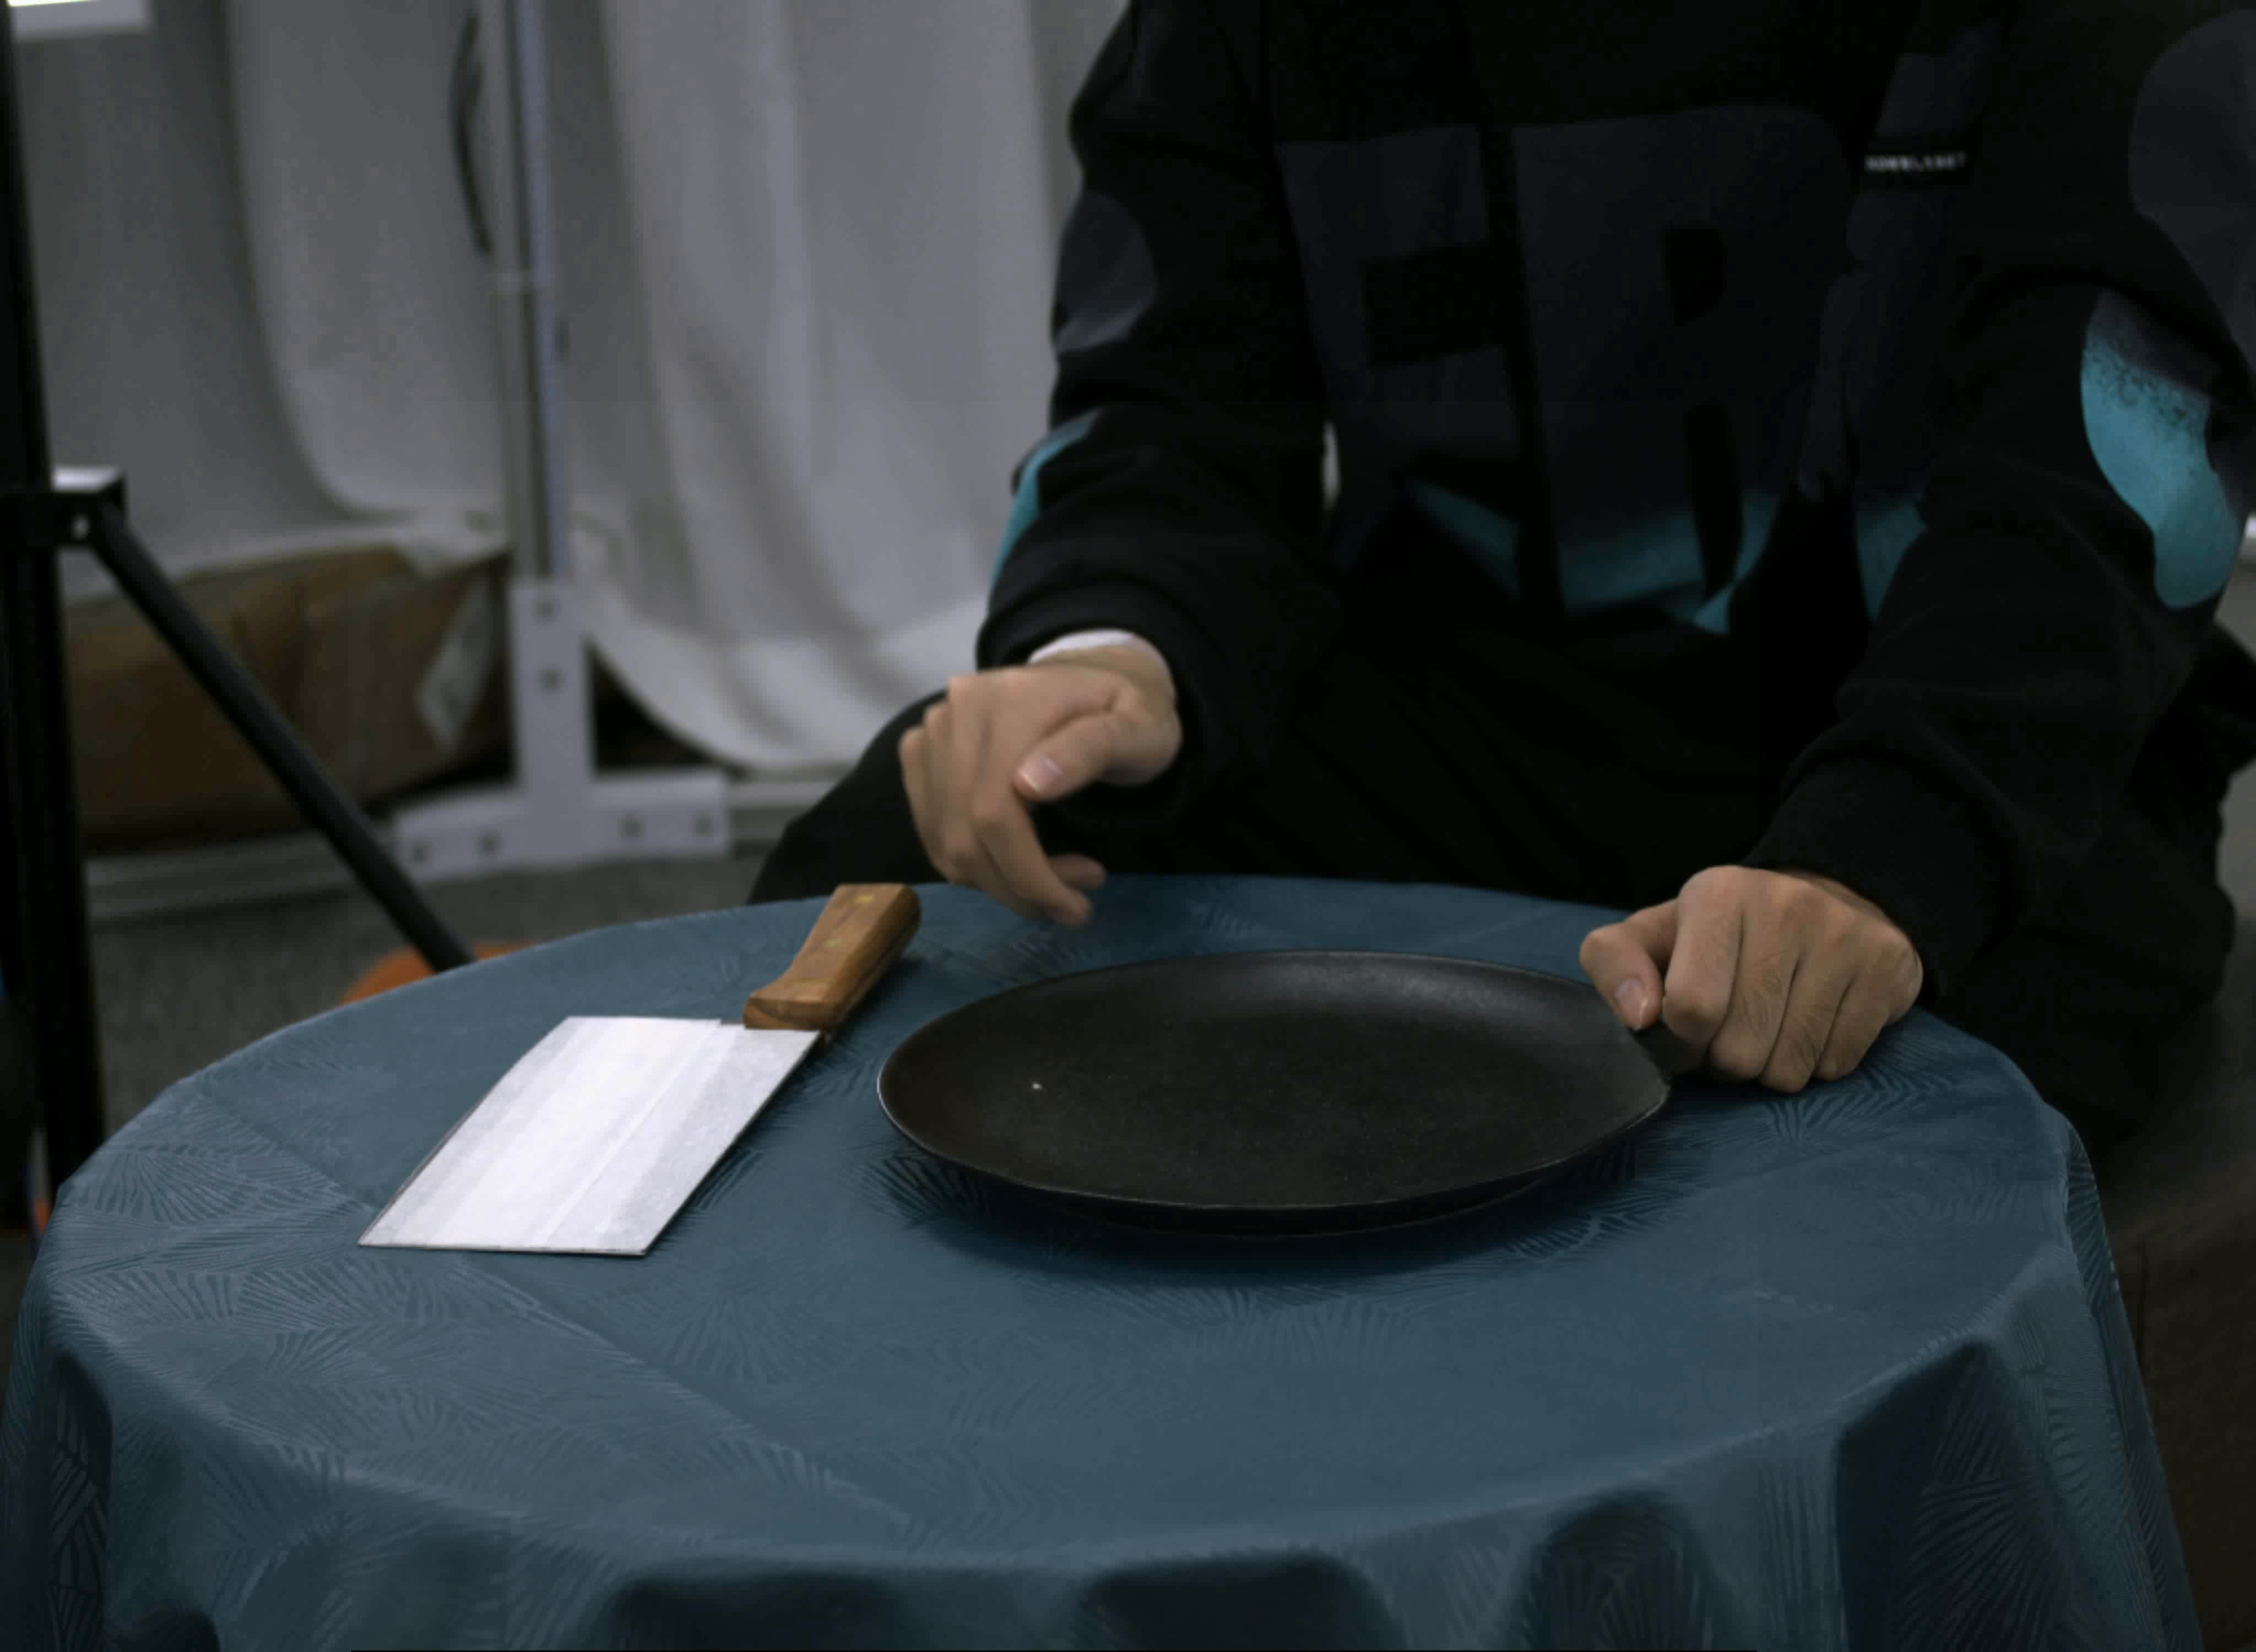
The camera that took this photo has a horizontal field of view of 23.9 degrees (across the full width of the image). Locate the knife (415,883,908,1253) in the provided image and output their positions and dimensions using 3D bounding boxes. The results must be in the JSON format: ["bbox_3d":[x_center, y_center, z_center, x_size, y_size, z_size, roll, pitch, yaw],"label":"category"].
[{"bbox_3d":[-0.145,0.074,1.674,0.093,0.021,0.304,0,18,14],"label":"knife"}]

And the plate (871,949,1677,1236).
[{"bbox_3d":[0.044,0.083,1.597,0.243,0.023,0.245,-3,16,-1],"label":"plate"}]
